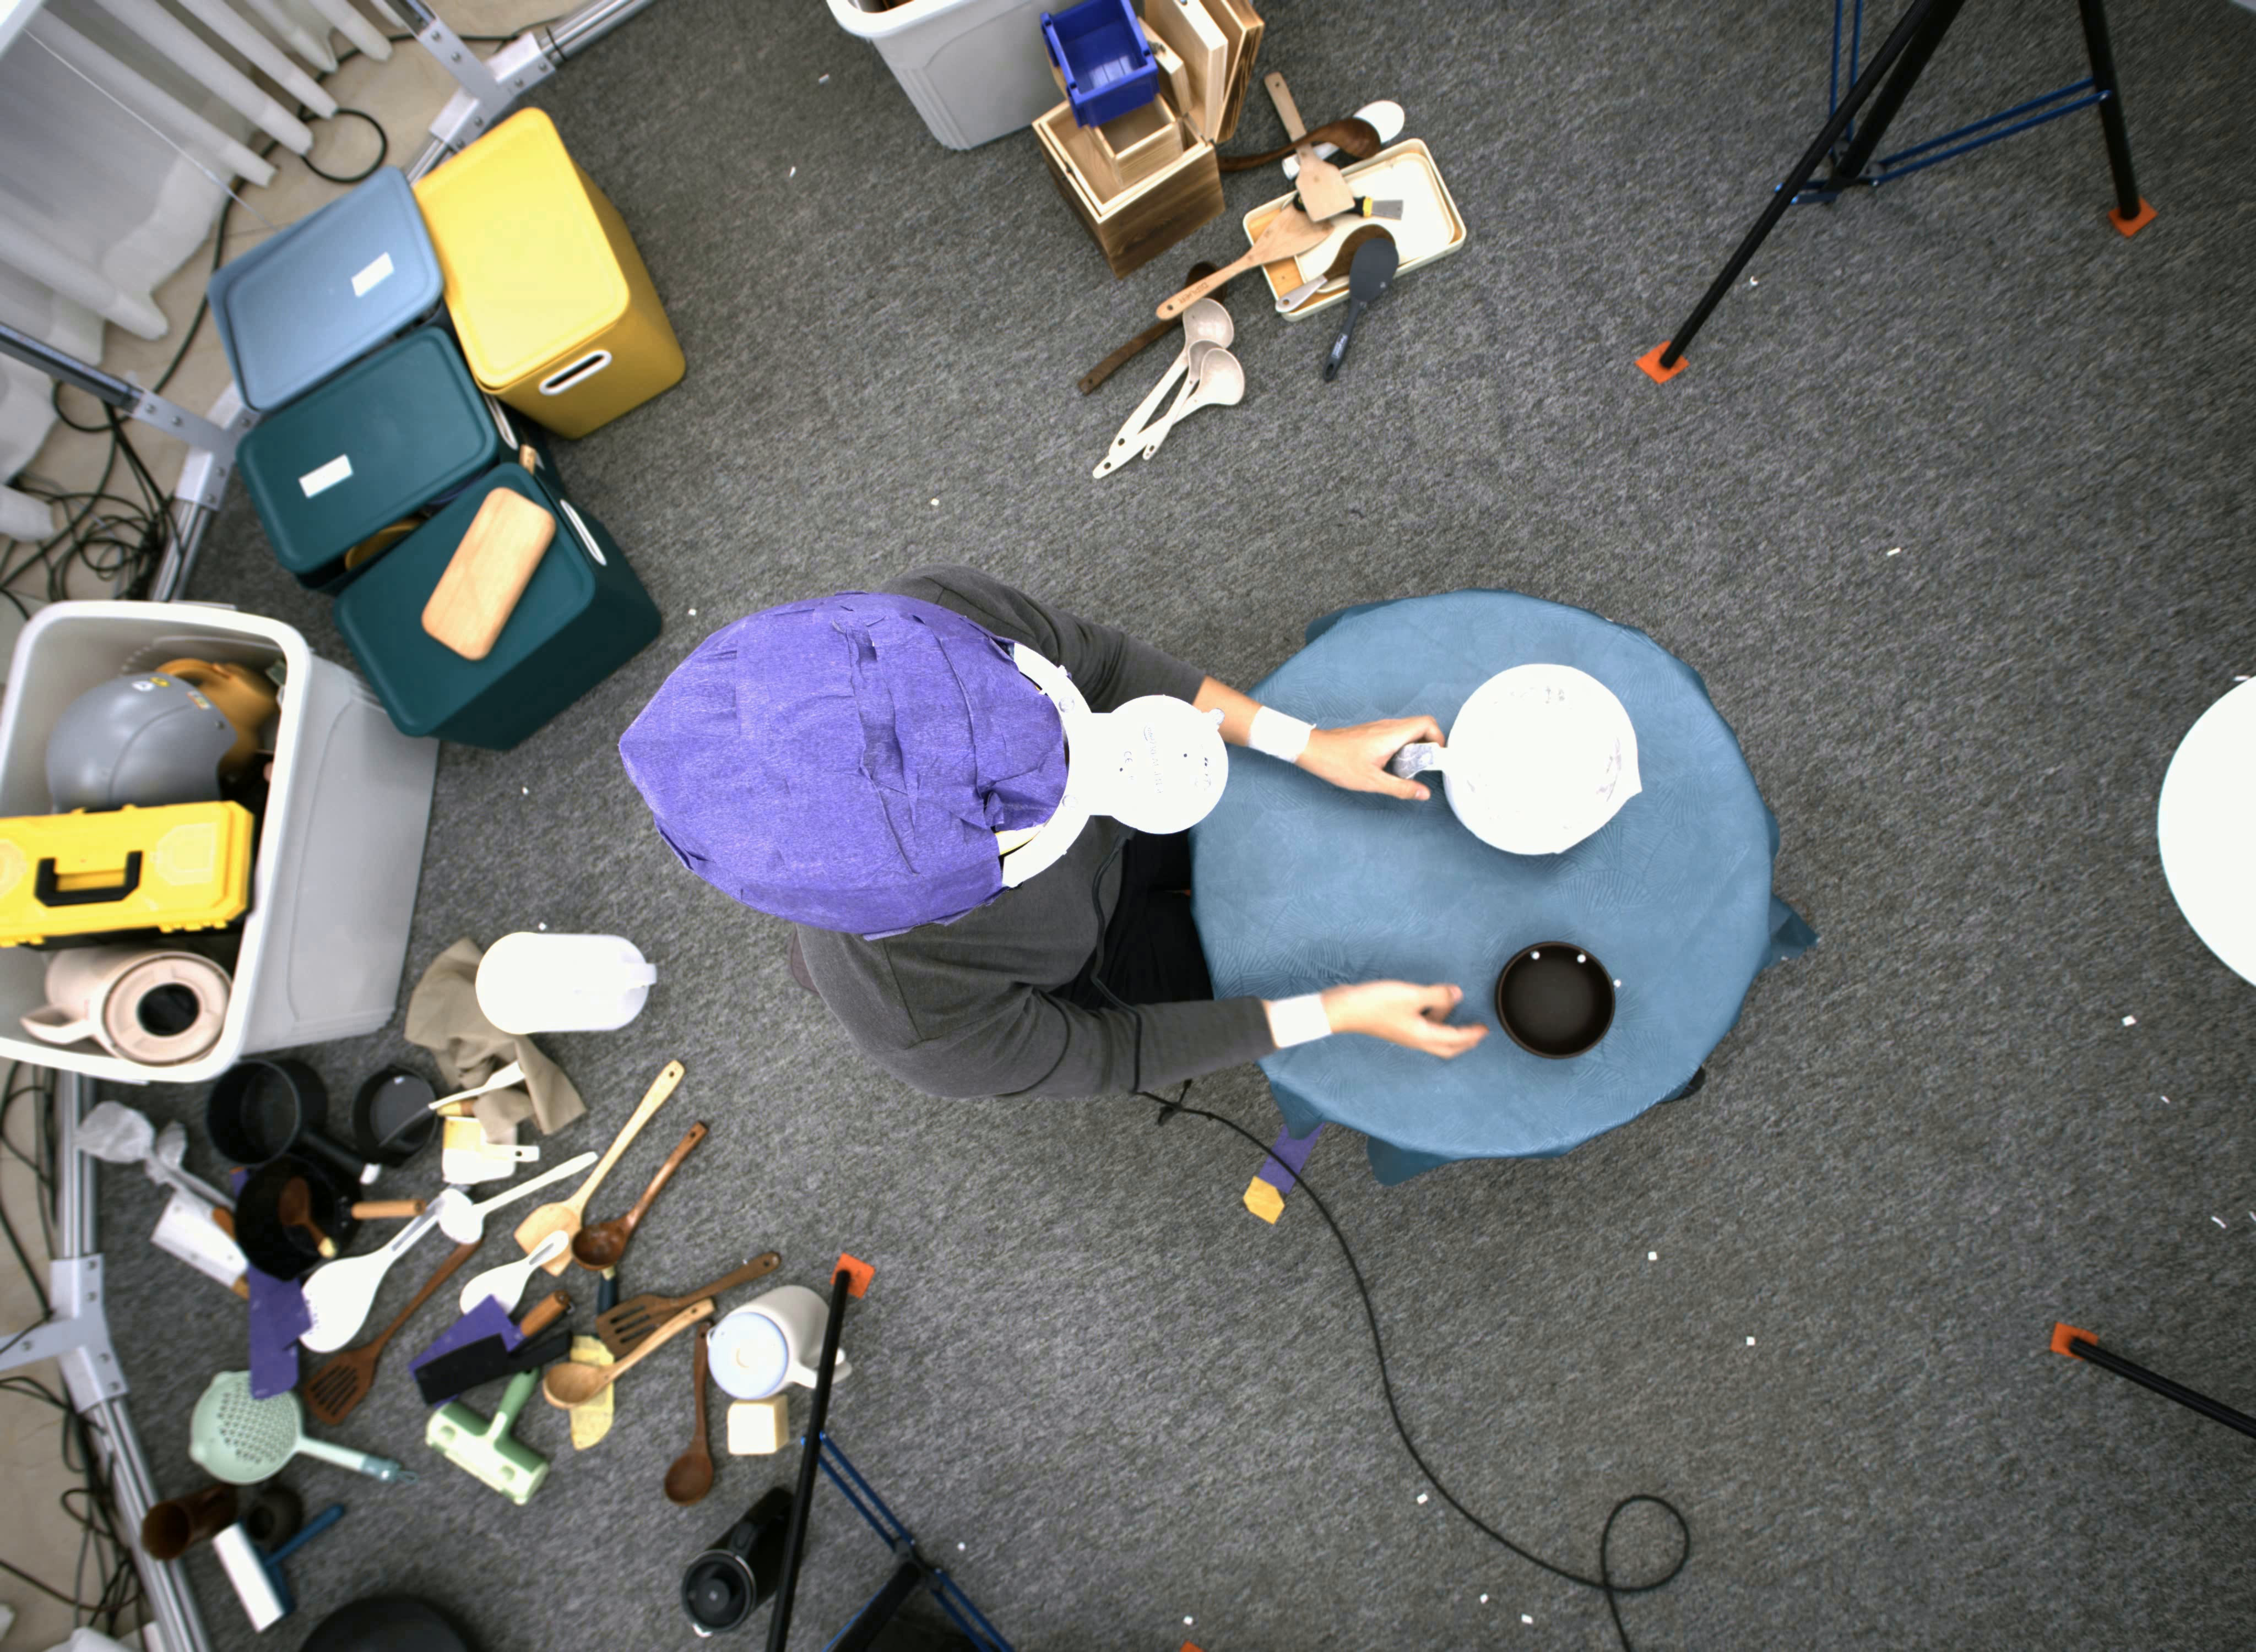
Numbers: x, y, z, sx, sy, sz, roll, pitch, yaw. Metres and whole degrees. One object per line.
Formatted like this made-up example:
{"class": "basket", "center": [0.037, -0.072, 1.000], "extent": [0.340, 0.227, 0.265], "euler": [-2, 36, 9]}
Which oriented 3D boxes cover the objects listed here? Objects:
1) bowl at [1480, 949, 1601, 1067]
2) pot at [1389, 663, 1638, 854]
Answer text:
{"class": "bowl", "center": [0.418, 0.181, 1.394], "extent": [0.119, 0.070, 0.117], "euler": [-2, 85, 18]}
{"class": "pot", "center": [0.380, -0.064, 1.377], "extent": [0.234, 0.137, 0.178], "euler": [0, 85, 11]}
